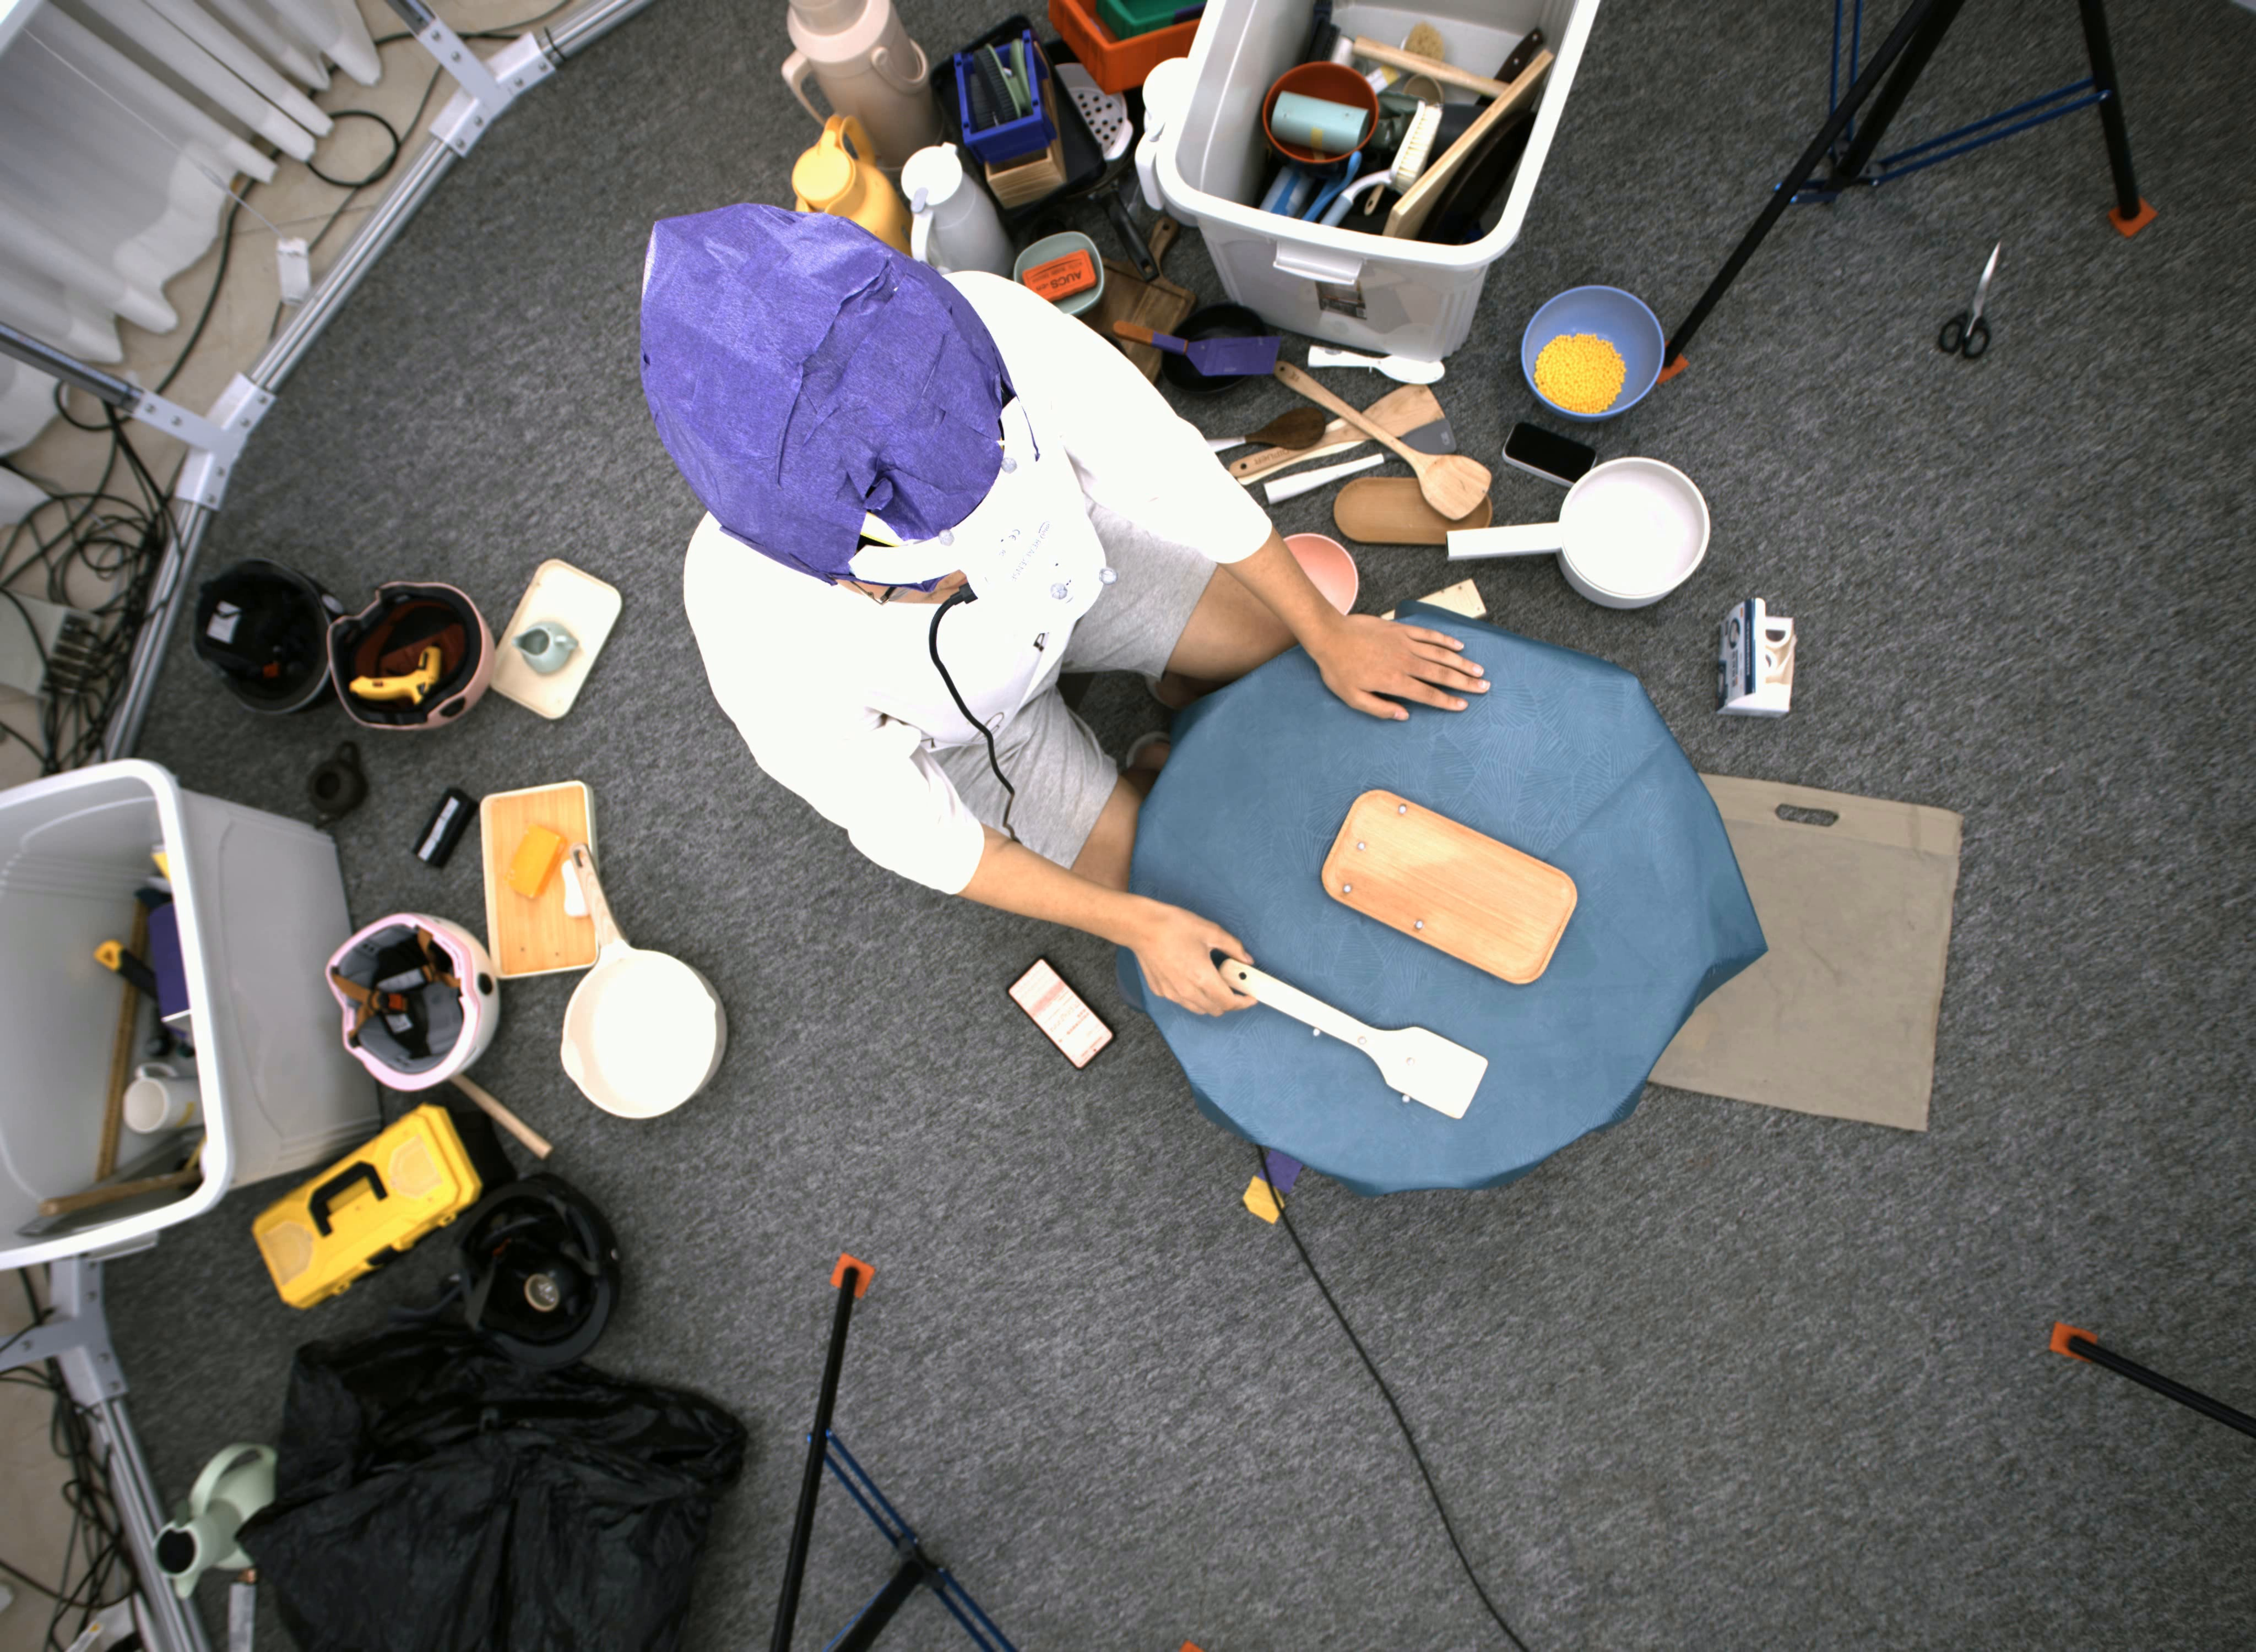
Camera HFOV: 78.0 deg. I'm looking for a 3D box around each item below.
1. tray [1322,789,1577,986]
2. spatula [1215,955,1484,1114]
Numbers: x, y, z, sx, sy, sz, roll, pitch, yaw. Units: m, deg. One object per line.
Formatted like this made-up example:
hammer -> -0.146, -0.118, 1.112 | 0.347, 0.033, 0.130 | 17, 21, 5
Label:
tray -> 0.334, 0.061, 1.440 | 0.250, 0.023, 0.131 | 27, 94, 11
spatula -> 0.224, 0.207, 1.440 | 0.293, 0.010, 0.072 | 25, 91, 3
